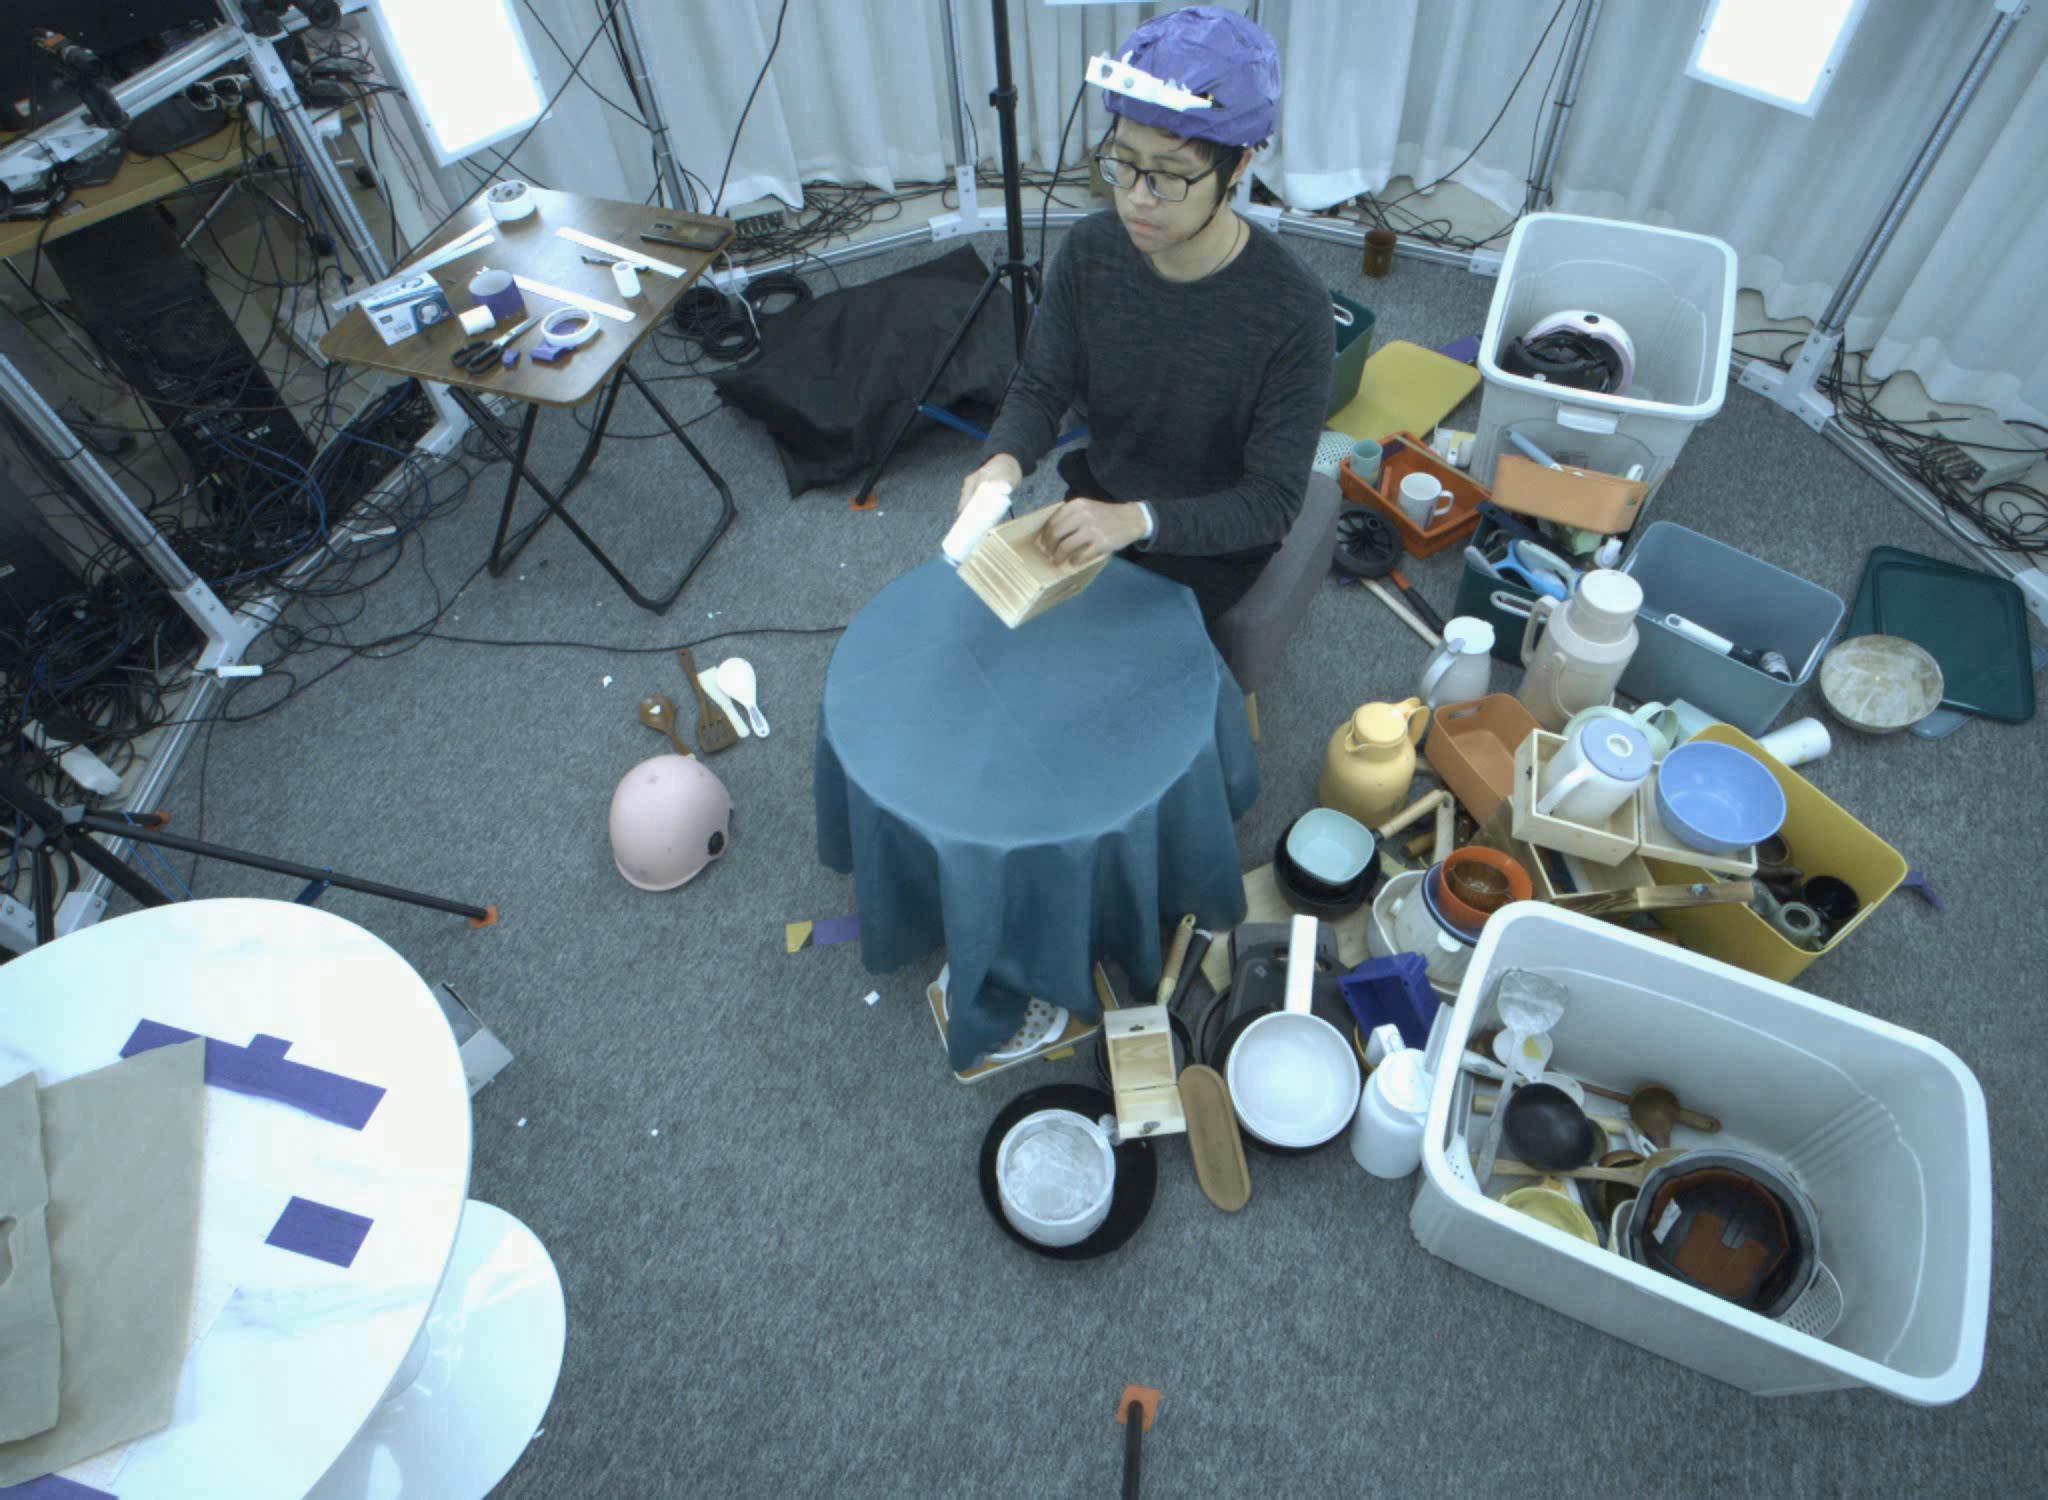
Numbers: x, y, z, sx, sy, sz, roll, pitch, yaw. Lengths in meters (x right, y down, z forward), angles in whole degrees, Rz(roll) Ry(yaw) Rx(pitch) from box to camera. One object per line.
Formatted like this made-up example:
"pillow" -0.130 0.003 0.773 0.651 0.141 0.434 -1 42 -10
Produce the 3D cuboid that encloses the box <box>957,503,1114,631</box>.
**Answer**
"box" 0.017 -0.247 1.628 0.107 0.079 0.213 46 34 4

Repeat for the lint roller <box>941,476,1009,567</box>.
"lint roller" -0.065 -0.334 1.667 0.051 0.132 0.179 27 29 -17
